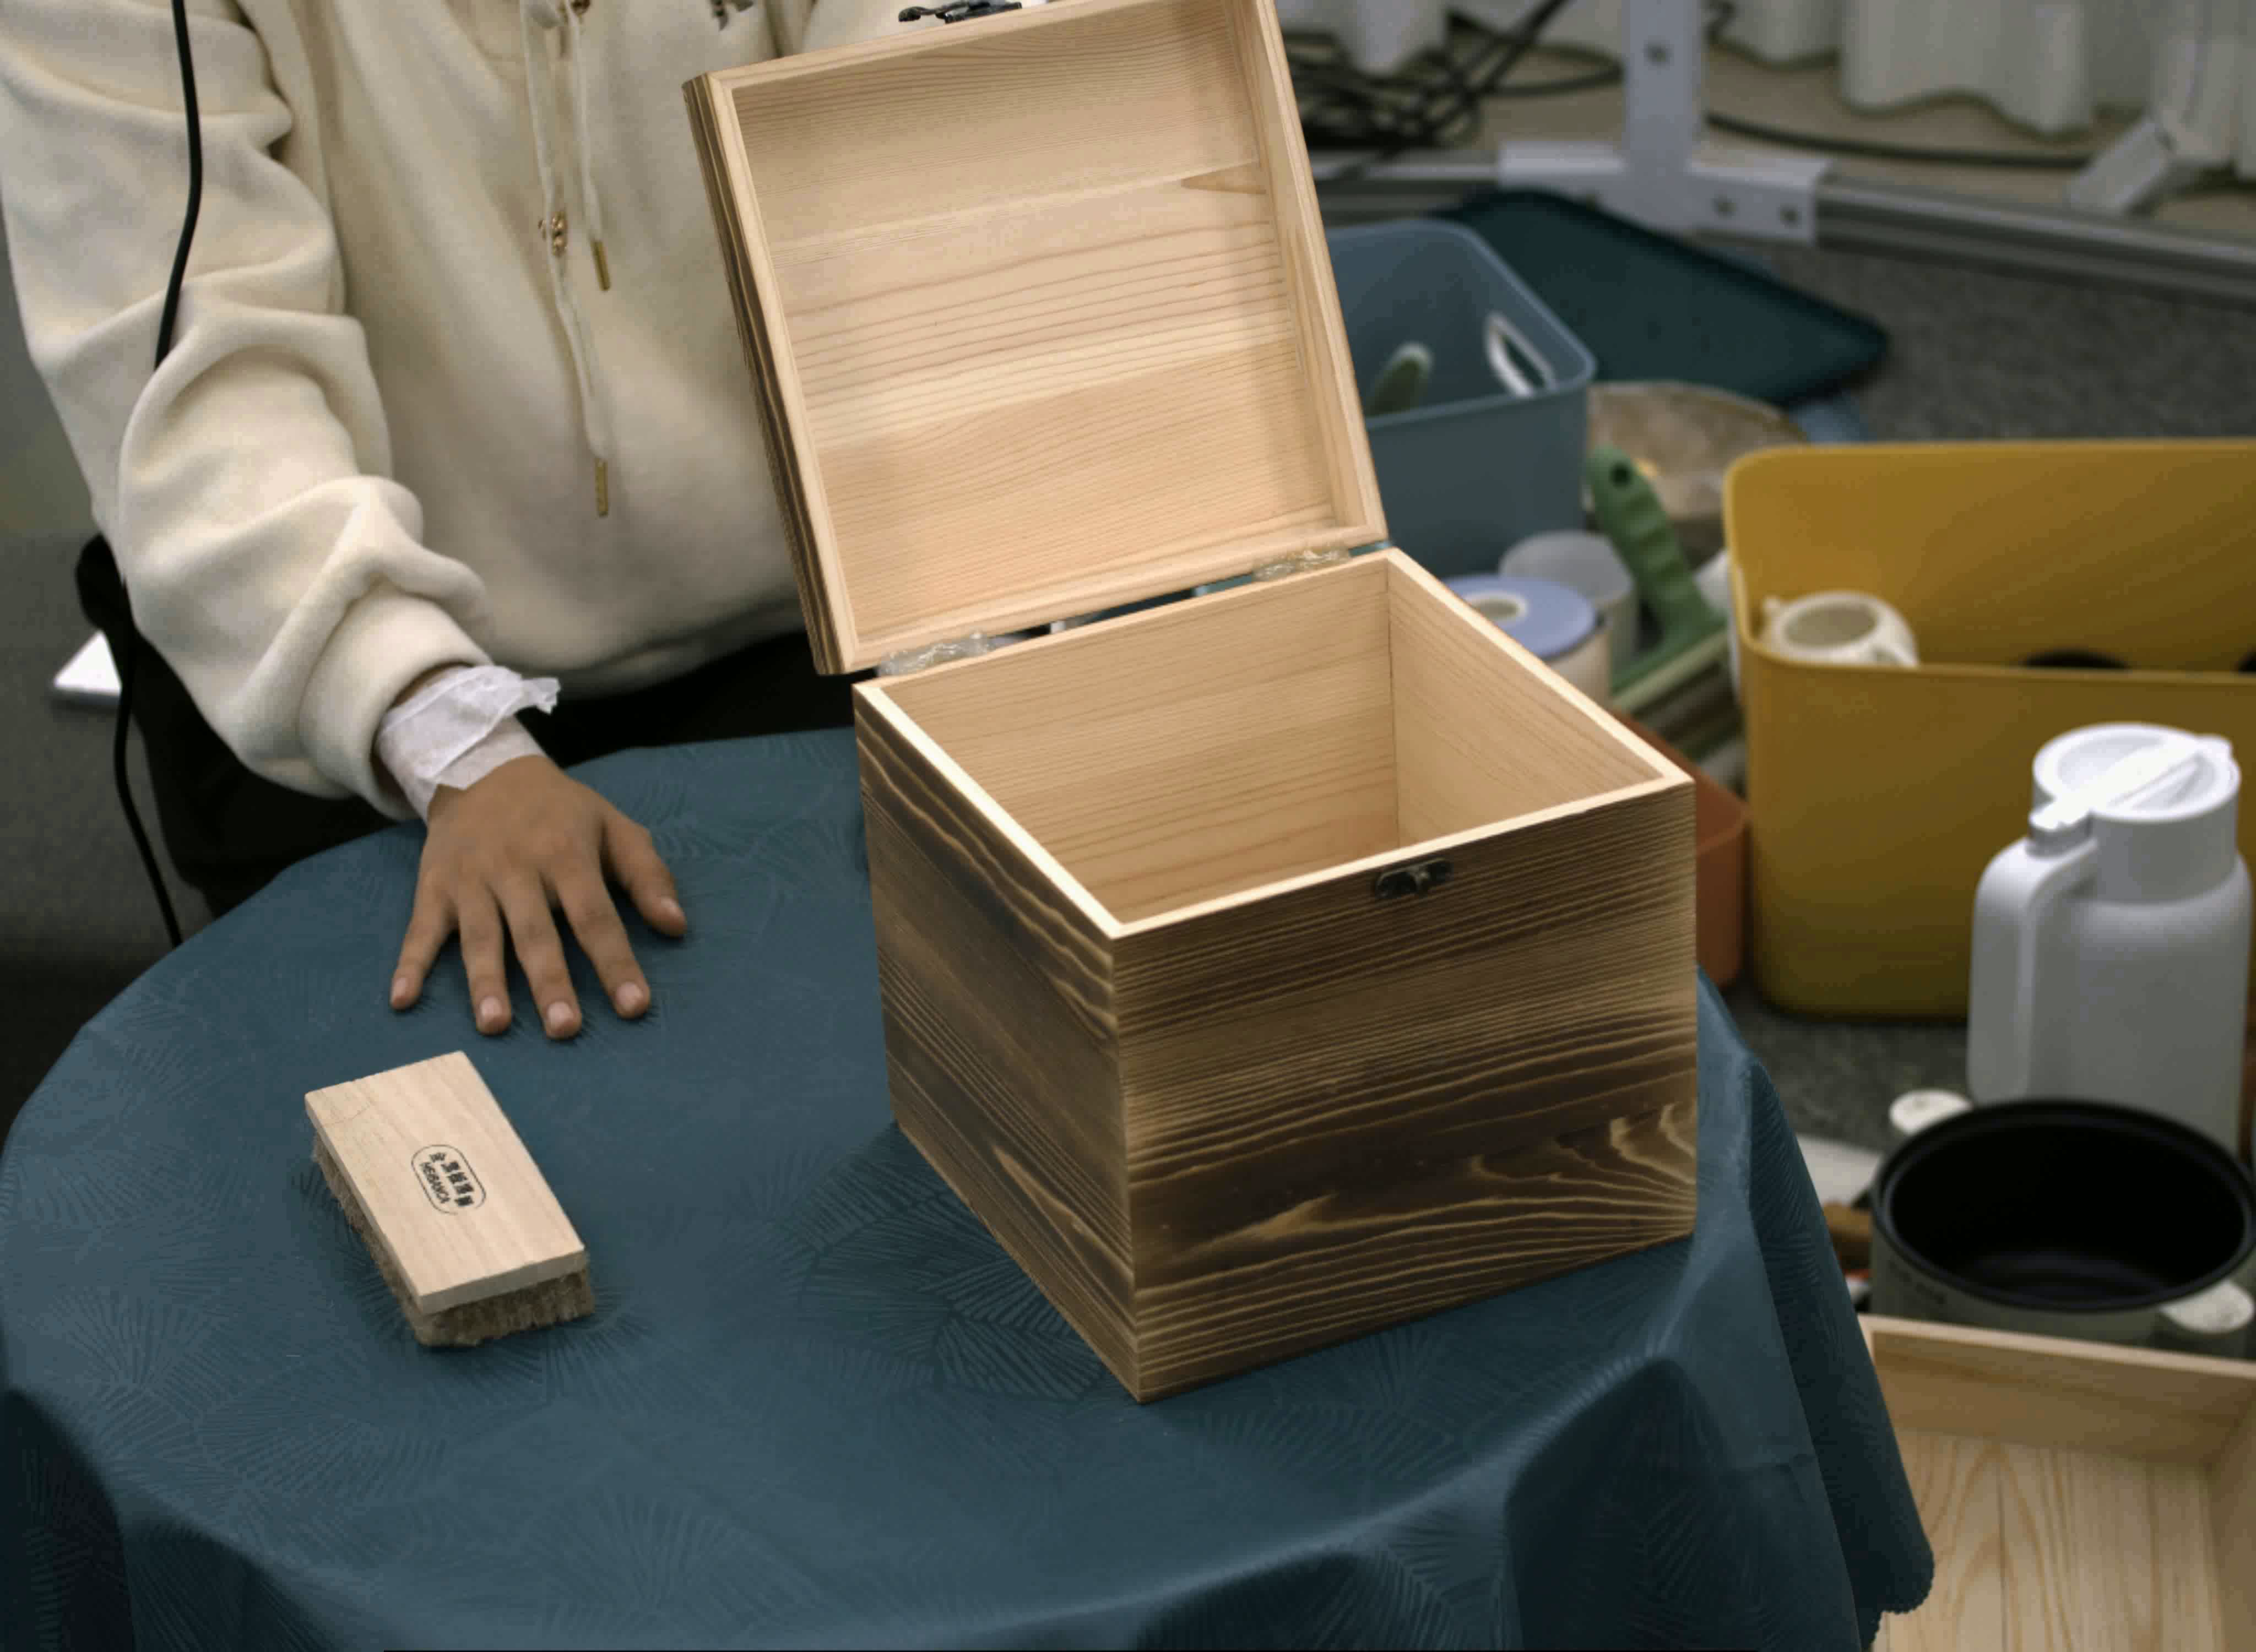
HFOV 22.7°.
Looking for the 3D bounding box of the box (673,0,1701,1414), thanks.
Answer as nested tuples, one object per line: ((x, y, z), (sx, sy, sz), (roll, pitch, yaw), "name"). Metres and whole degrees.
((0.018, -0.063, 1.826), (0.209, 0.371, 0.324), (-15, 29, -21), "box")

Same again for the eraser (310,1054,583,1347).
((-0.225, 0.125, 1.847), (0.057, 0.028, 0.140), (-15, 29, -16), "eraser")
